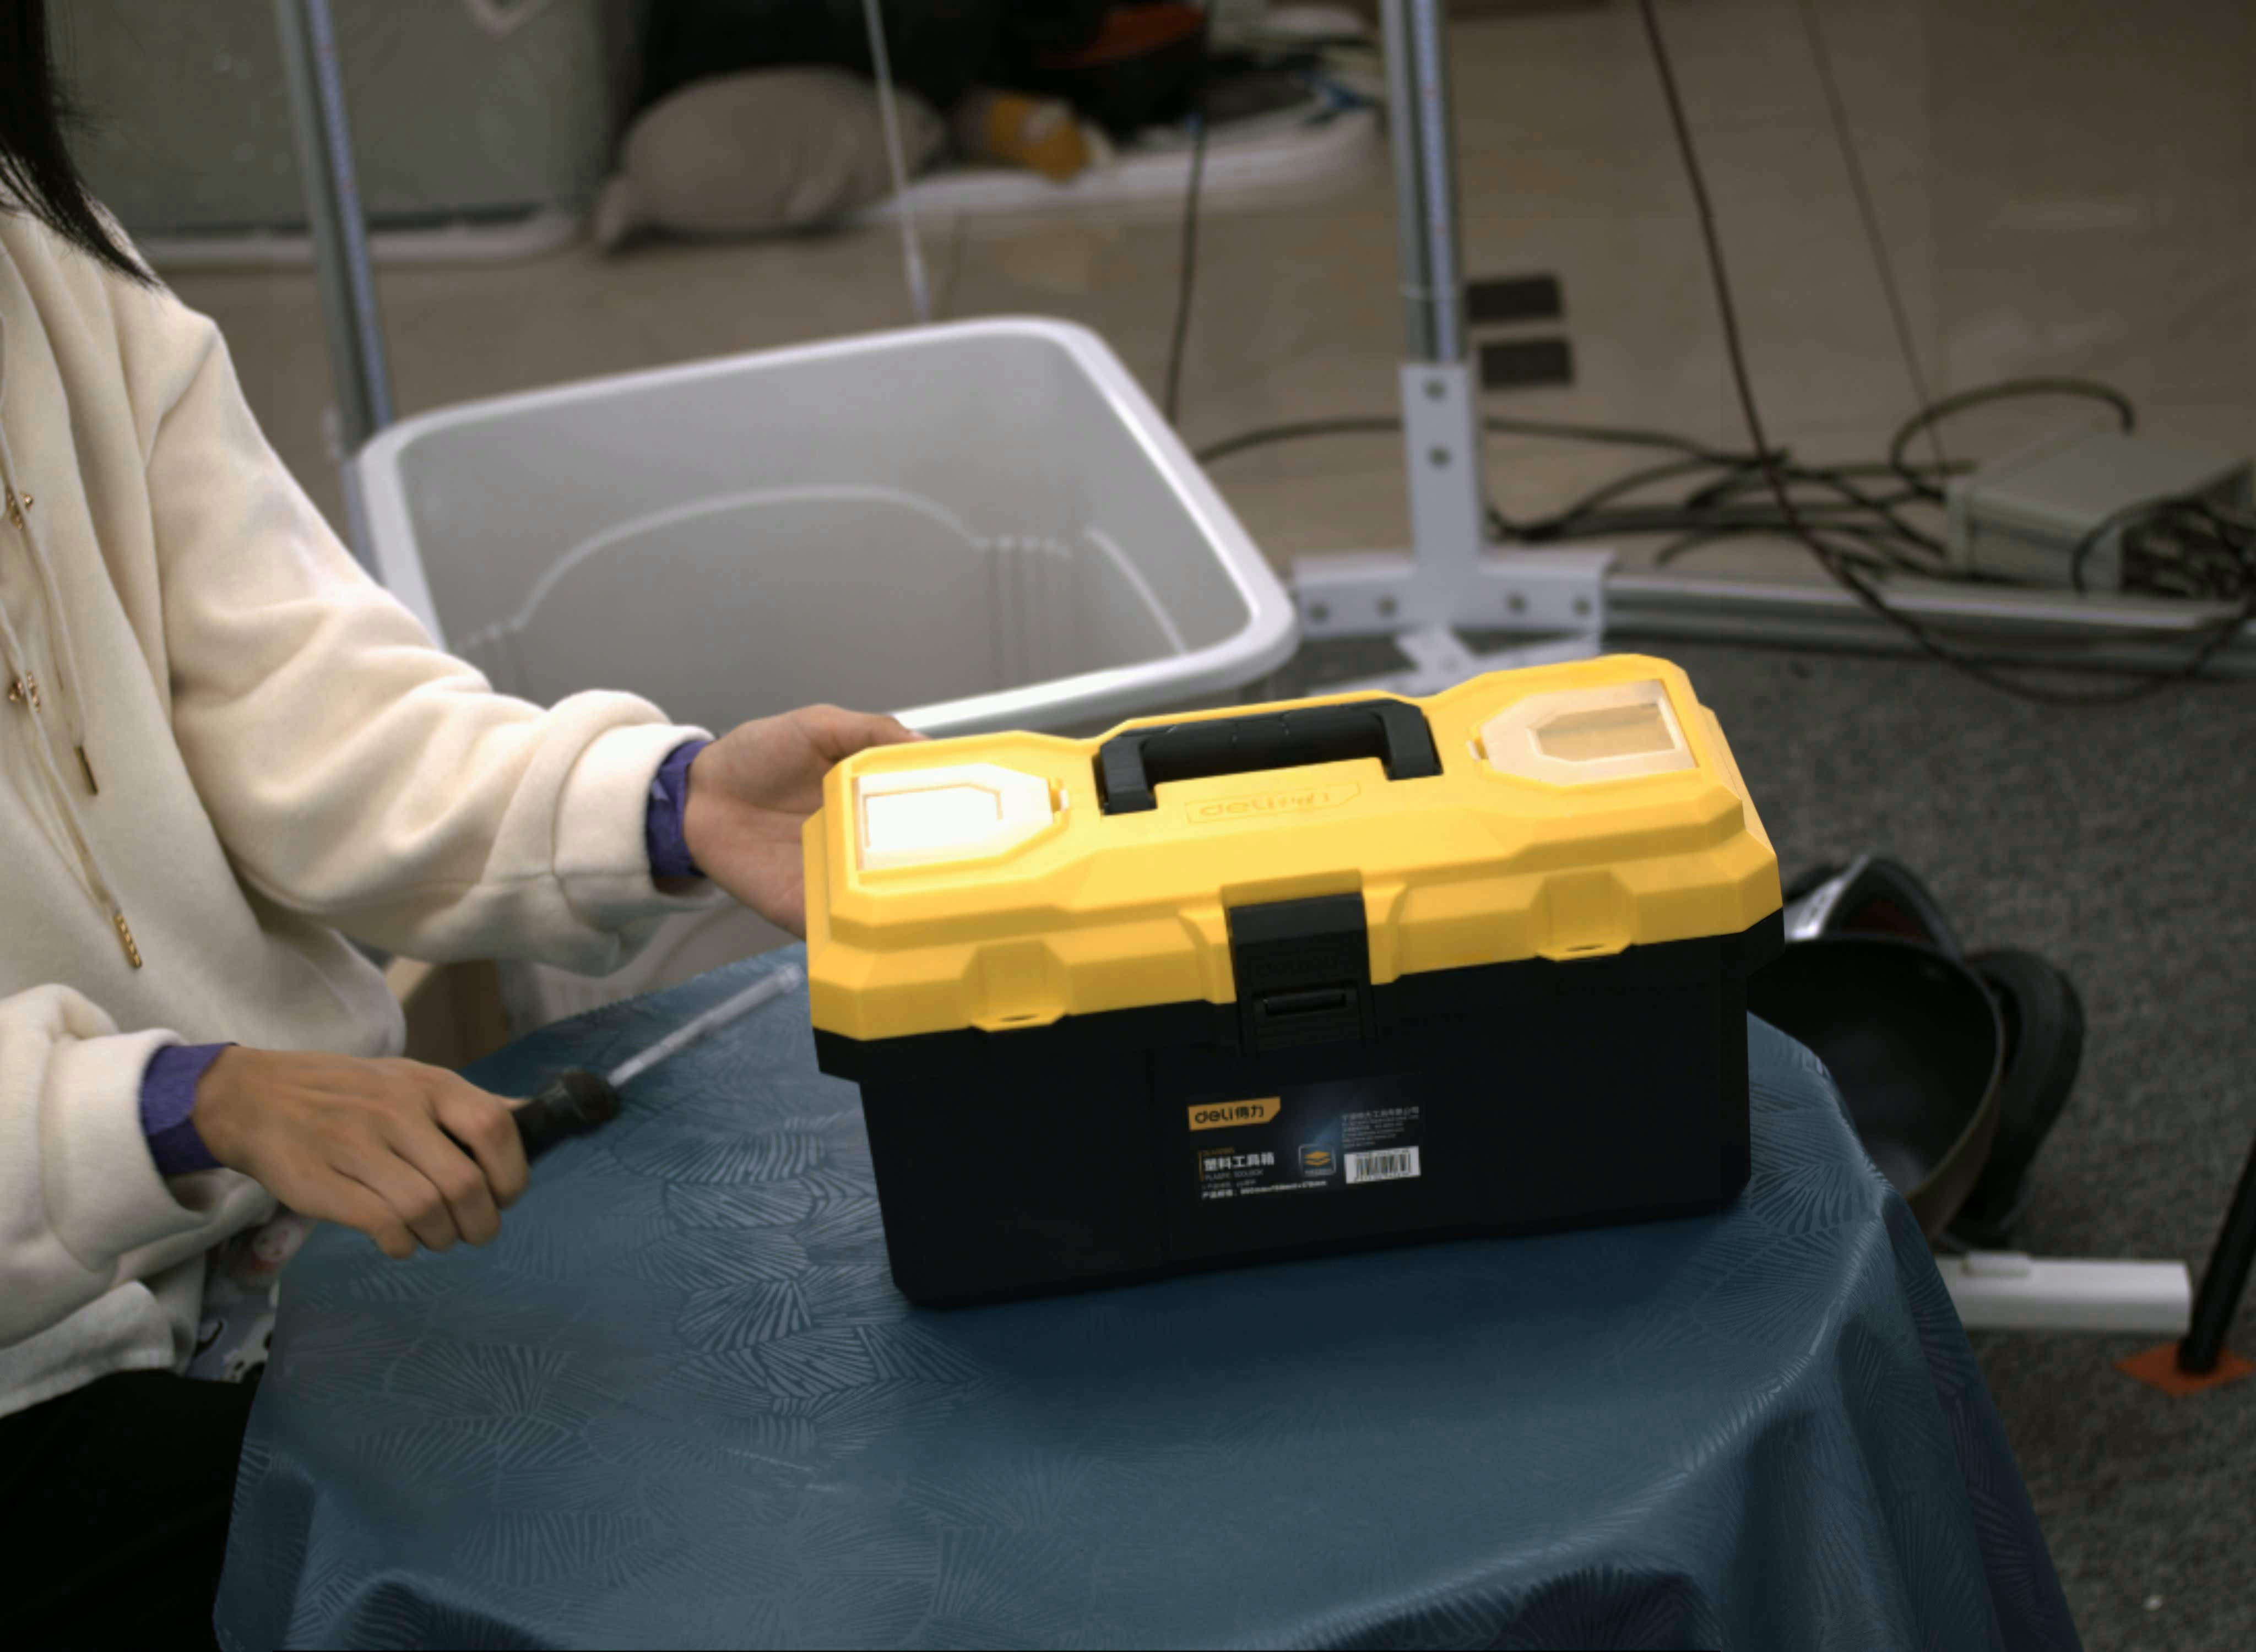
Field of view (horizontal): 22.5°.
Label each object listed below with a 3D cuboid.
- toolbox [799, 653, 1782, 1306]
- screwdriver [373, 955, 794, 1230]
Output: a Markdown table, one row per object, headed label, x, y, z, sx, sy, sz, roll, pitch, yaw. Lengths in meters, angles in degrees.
| label | x | y | z | sx | sy | sz | roll | pitch | yaw |
| --- | --- | --- | --- | --- | --- | --- | --- | --- | --- |
| toolbox | 0.059 | 0.058 | 2.099 | 0.351 | 0.175 | 0.178 | -7 | 25 | -1 |
| screwdriver | -0.190 | 0.089 | 1.957 | 0.198 | 0.031 | 0.031 | -33 | 11 | 31 |
